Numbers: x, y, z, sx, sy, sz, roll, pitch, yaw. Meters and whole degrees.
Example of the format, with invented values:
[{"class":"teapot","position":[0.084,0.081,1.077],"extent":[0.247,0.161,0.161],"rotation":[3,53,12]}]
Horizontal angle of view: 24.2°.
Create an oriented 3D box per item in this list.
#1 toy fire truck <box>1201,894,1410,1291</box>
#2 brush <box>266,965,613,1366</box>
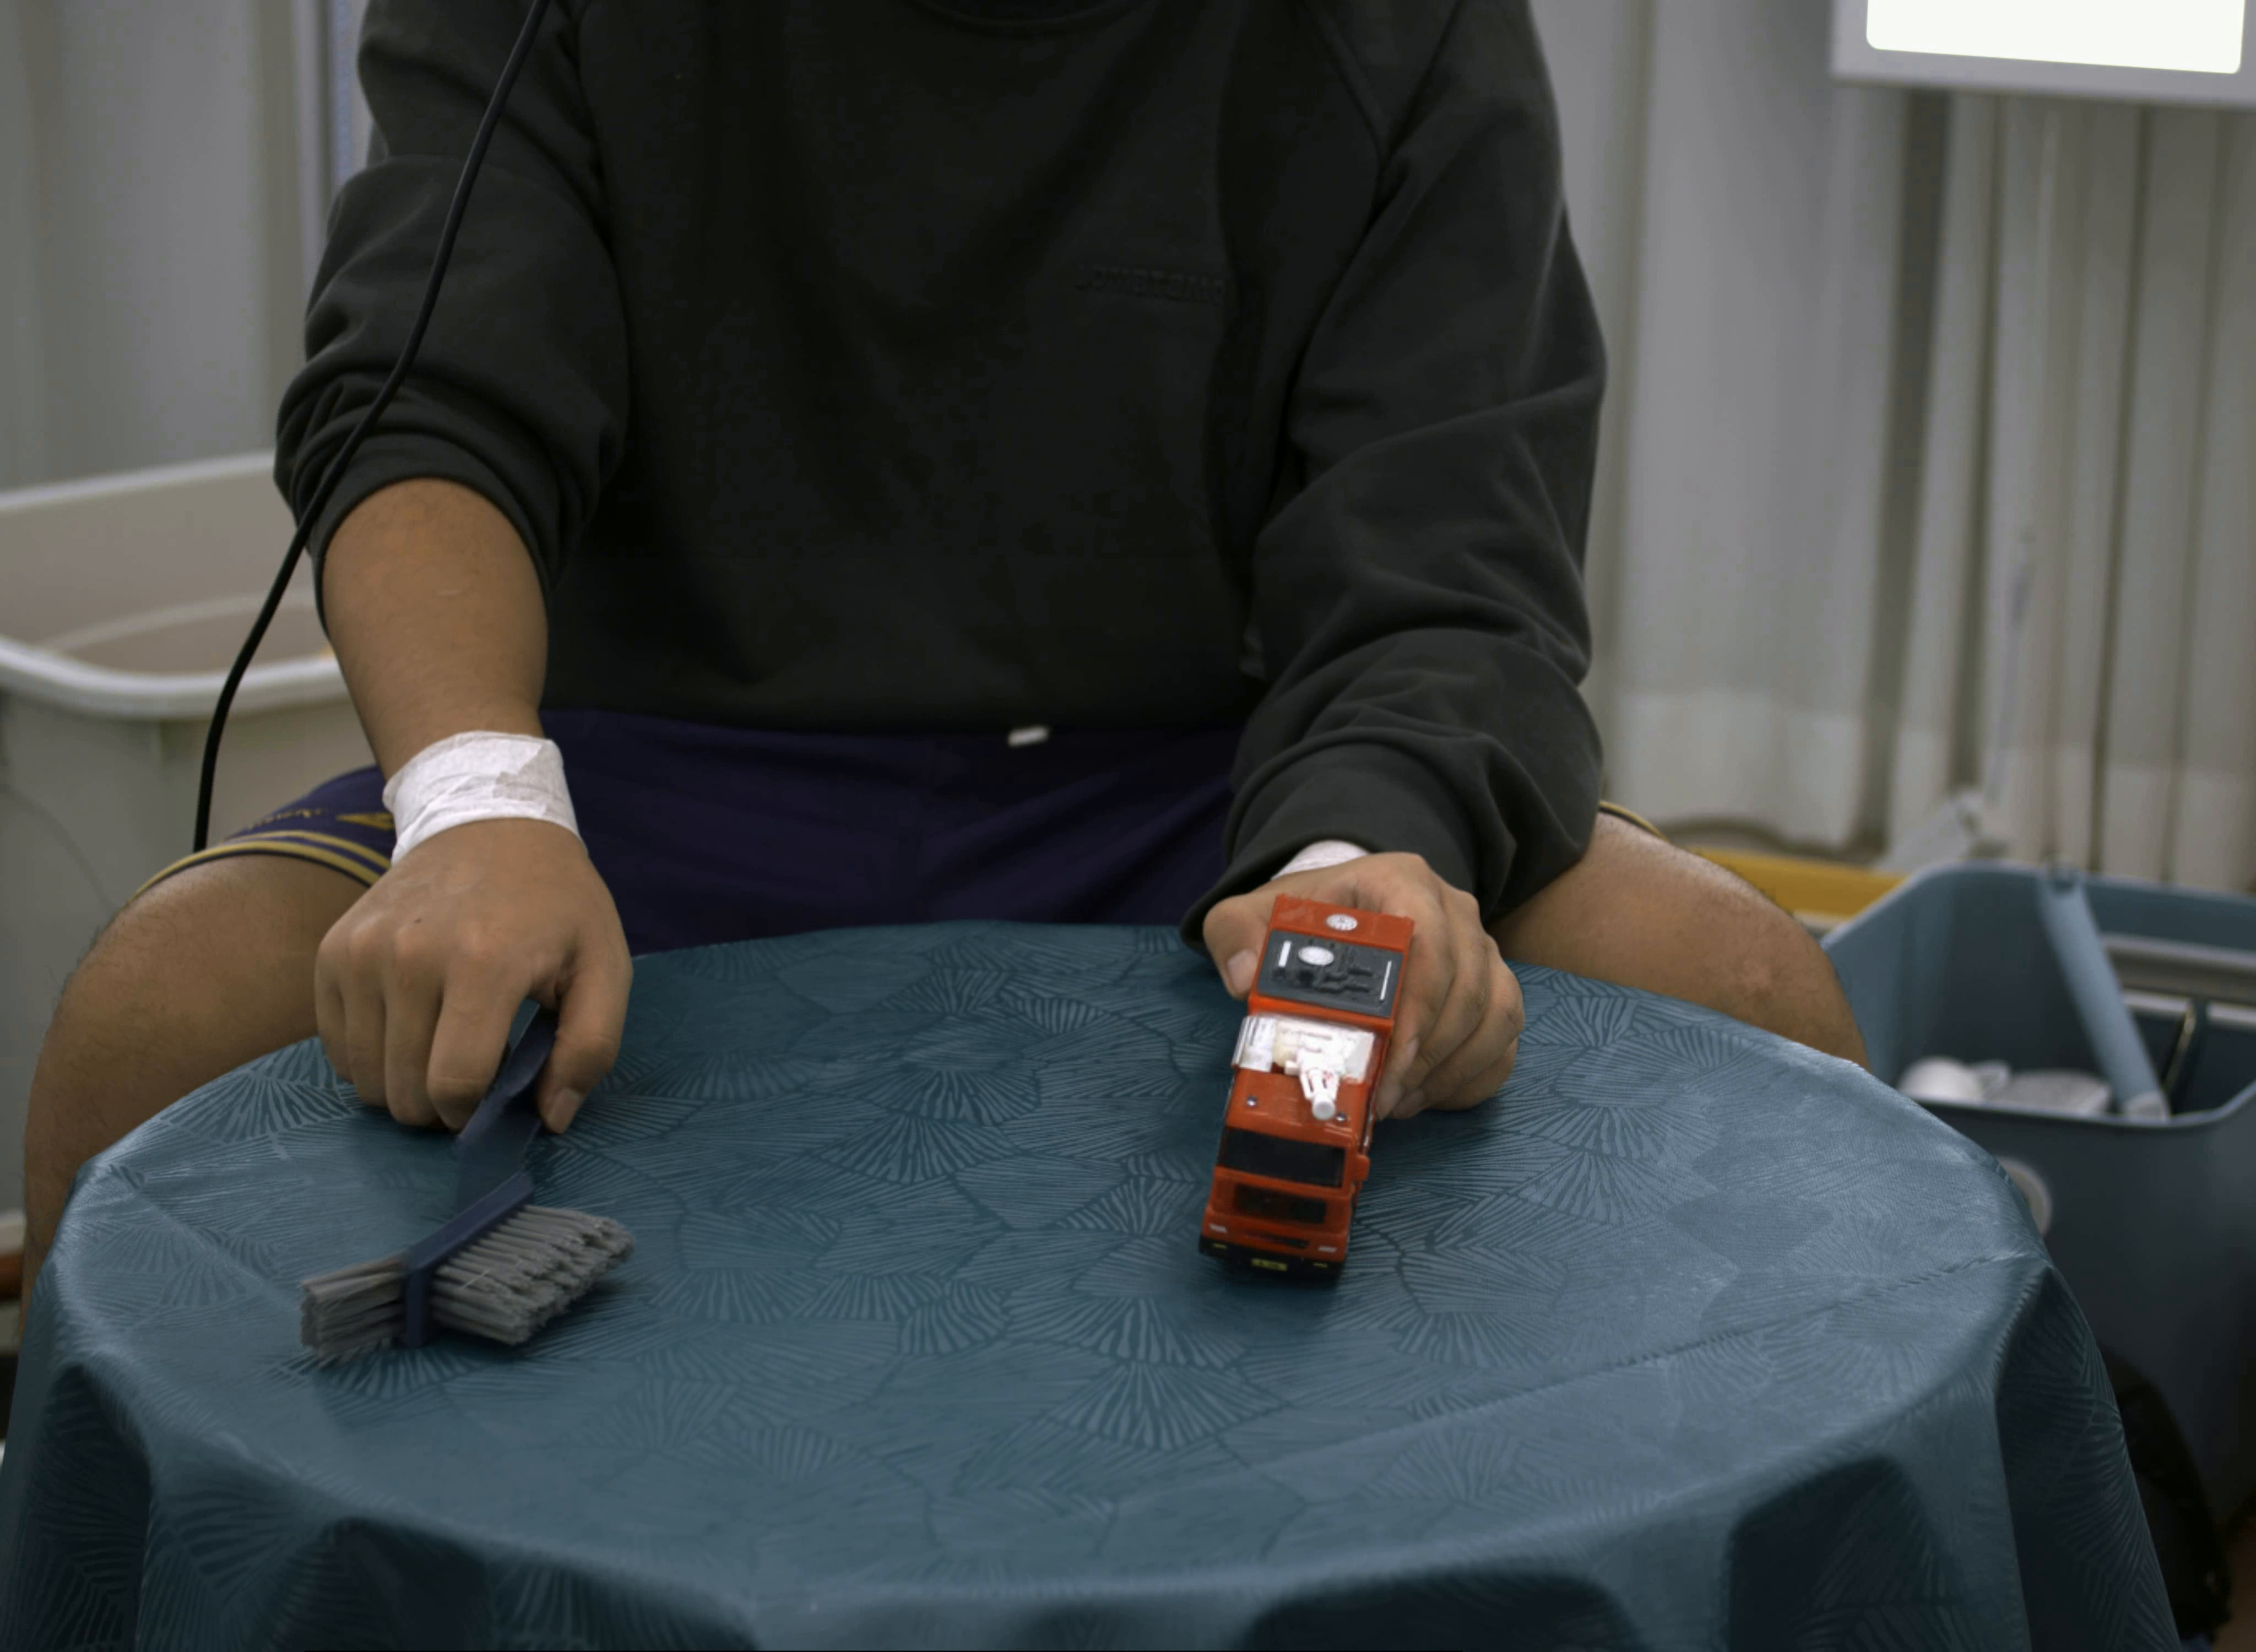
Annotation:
[{"class":"toy fire truck","position":[0.055,0.078,1.598],"extent":[0.054,0.071,0.167],"rotation":[10,25,3]},{"class":"brush","position":[-0.201,0.100,1.600],"extent":[0.095,0.034,0.271],"rotation":[-1,16,-3]}]
